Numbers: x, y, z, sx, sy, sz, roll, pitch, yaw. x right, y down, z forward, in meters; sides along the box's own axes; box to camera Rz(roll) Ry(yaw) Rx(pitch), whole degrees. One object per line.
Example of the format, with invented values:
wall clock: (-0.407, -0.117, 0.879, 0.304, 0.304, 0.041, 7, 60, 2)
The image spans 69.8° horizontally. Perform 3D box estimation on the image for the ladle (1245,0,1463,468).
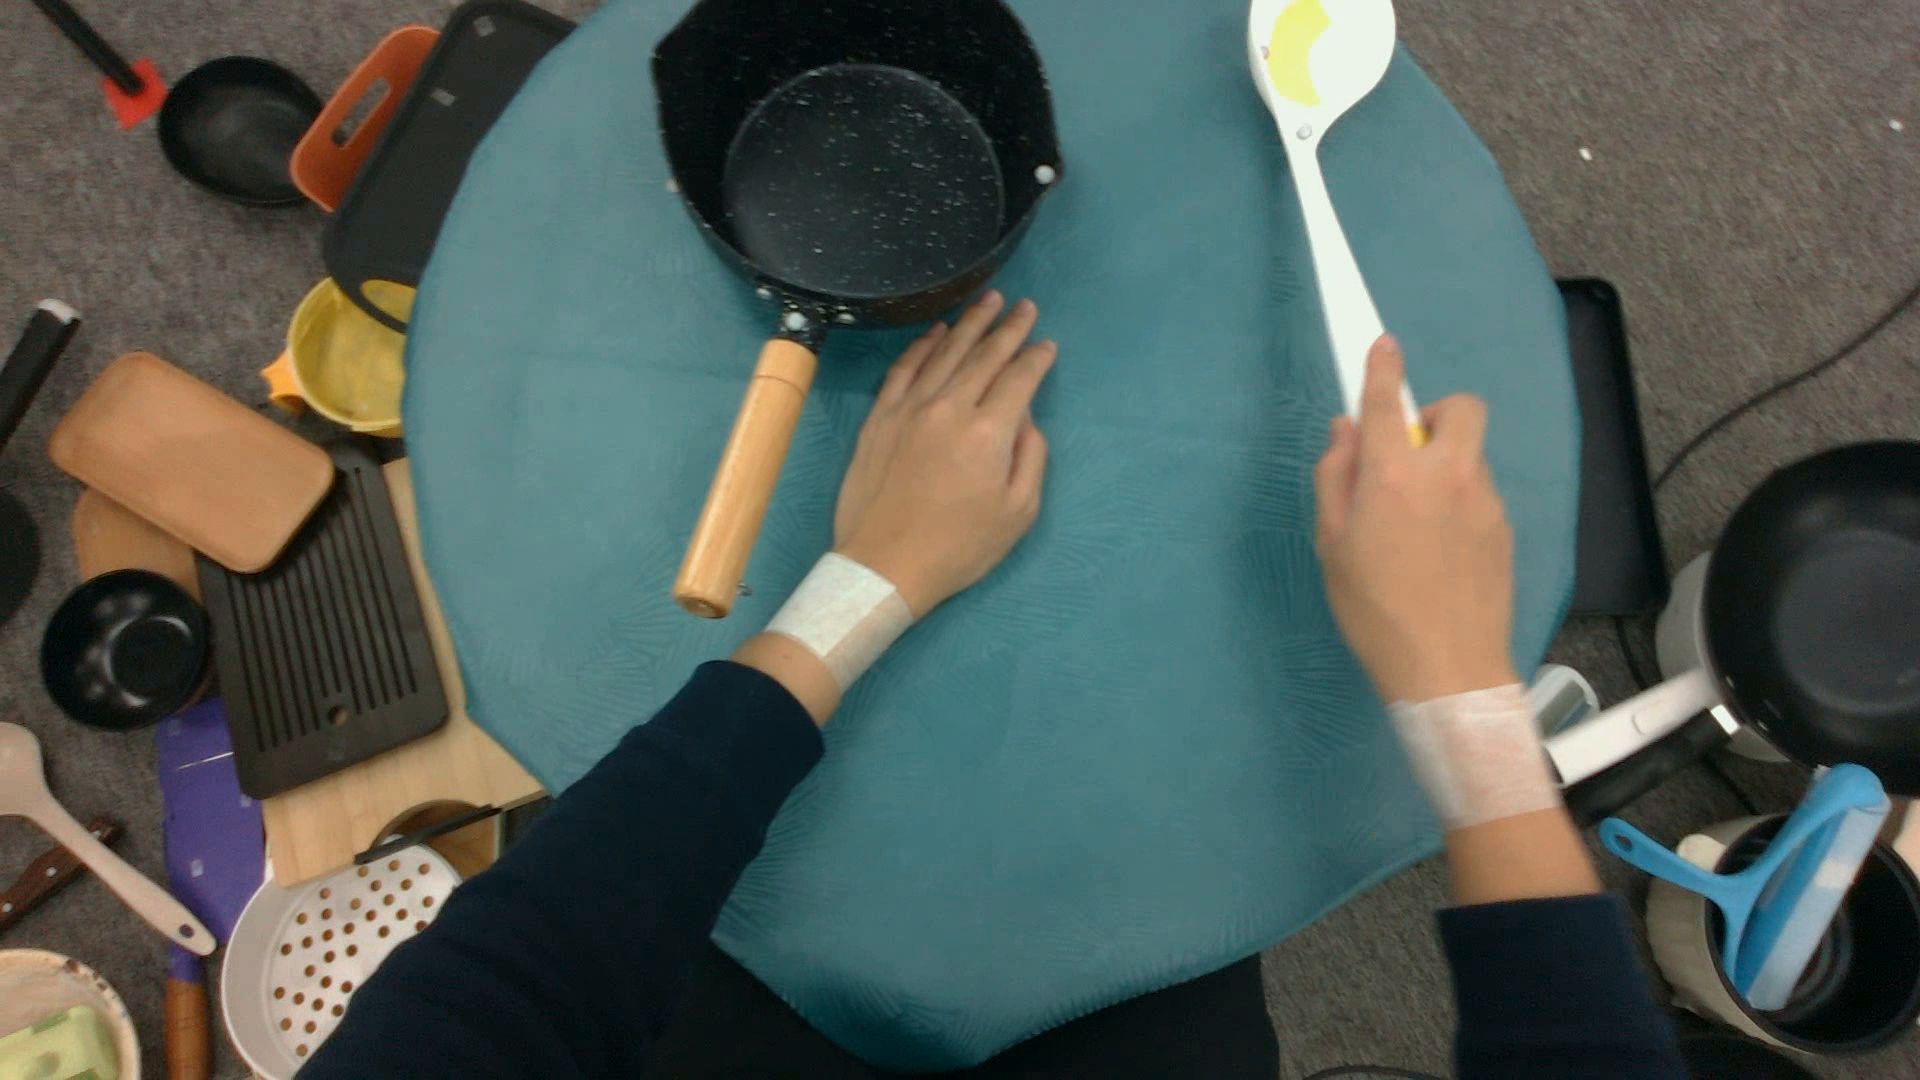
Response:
ladle: (0.194, -0.171, 0.659, 0.090, 0.069, 0.294, 15, 50, -31)

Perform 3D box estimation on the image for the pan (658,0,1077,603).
pan: (-0.063, -0.124, 0.657, 0.207, 0.108, 0.343, 15, 76, 0)
